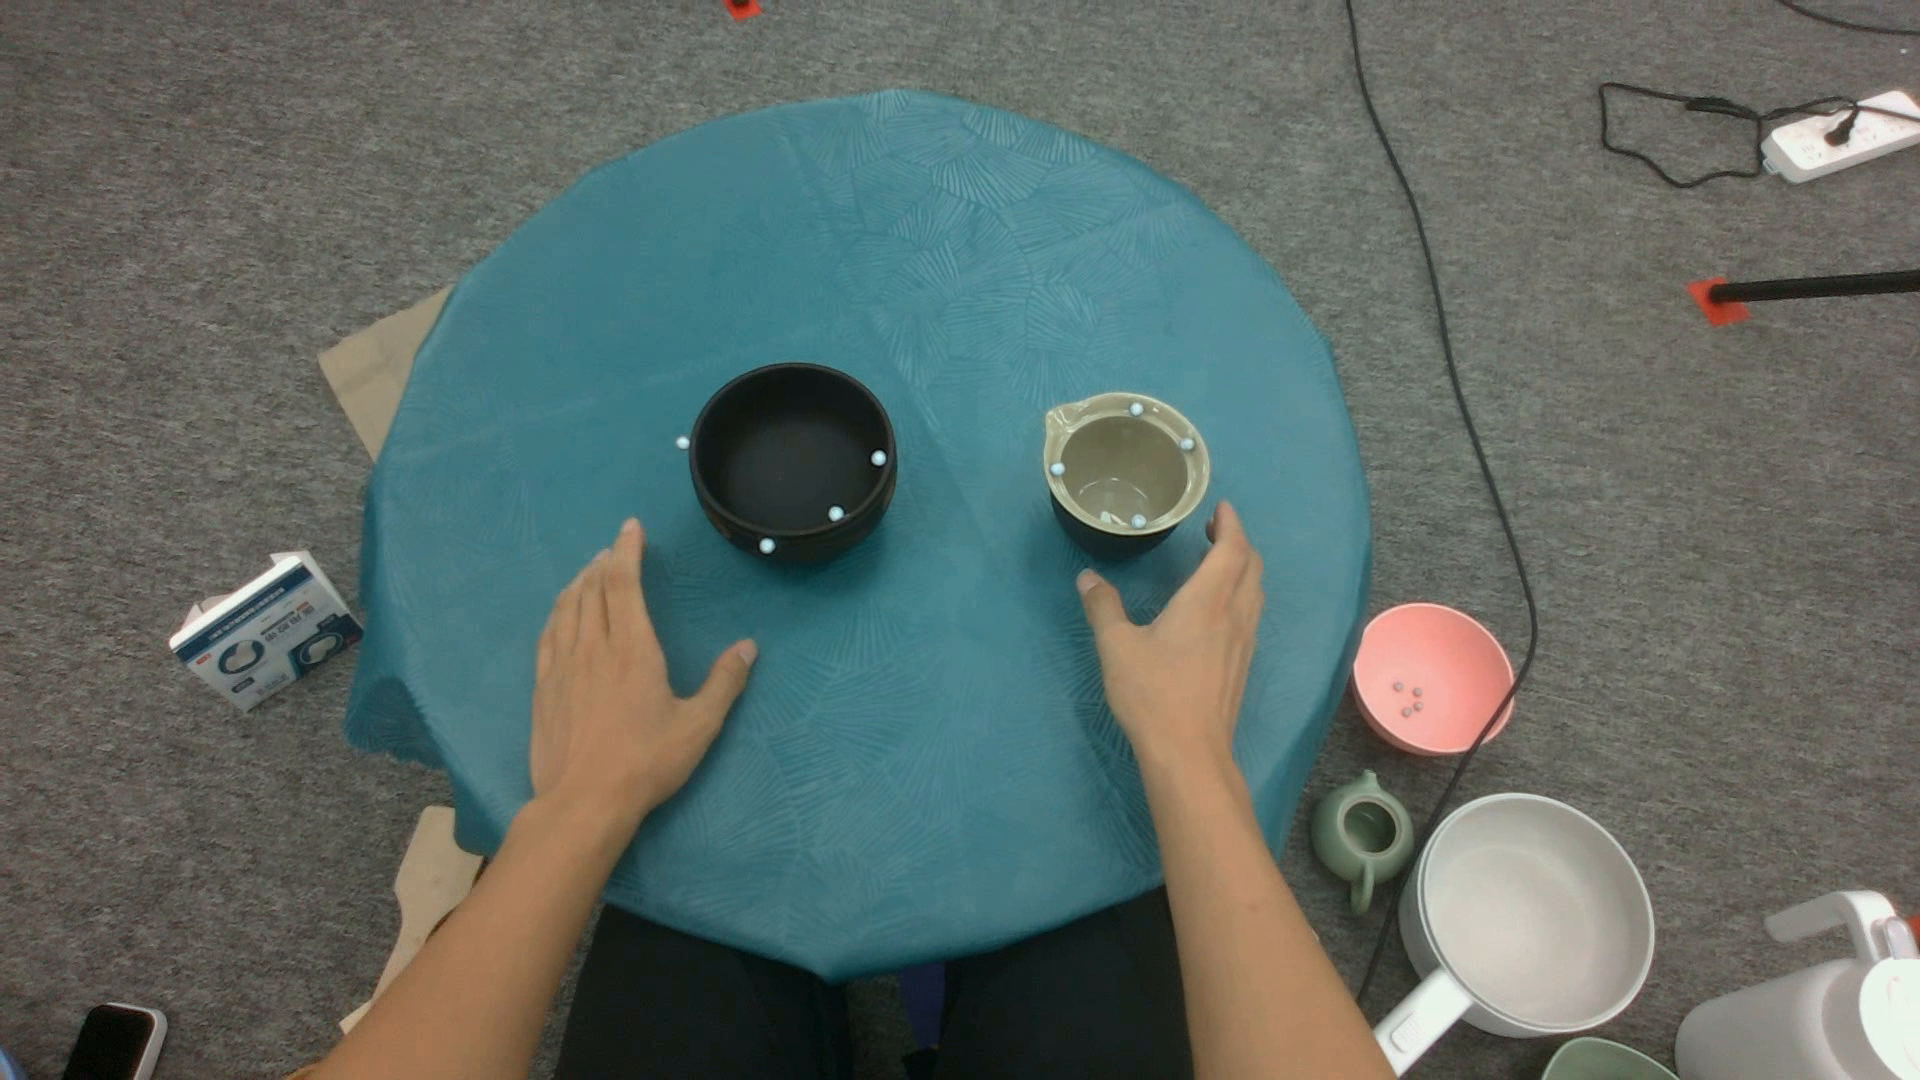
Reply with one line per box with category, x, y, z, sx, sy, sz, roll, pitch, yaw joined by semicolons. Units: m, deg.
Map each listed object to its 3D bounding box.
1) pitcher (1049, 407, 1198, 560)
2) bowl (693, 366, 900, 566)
pitcher;0.089;-0.031;0.809;0.096;0.071;0.084;42;71;17
bowl;-0.094;-0.037;0.810;0.118;0.069;0.118;1;61;-2
